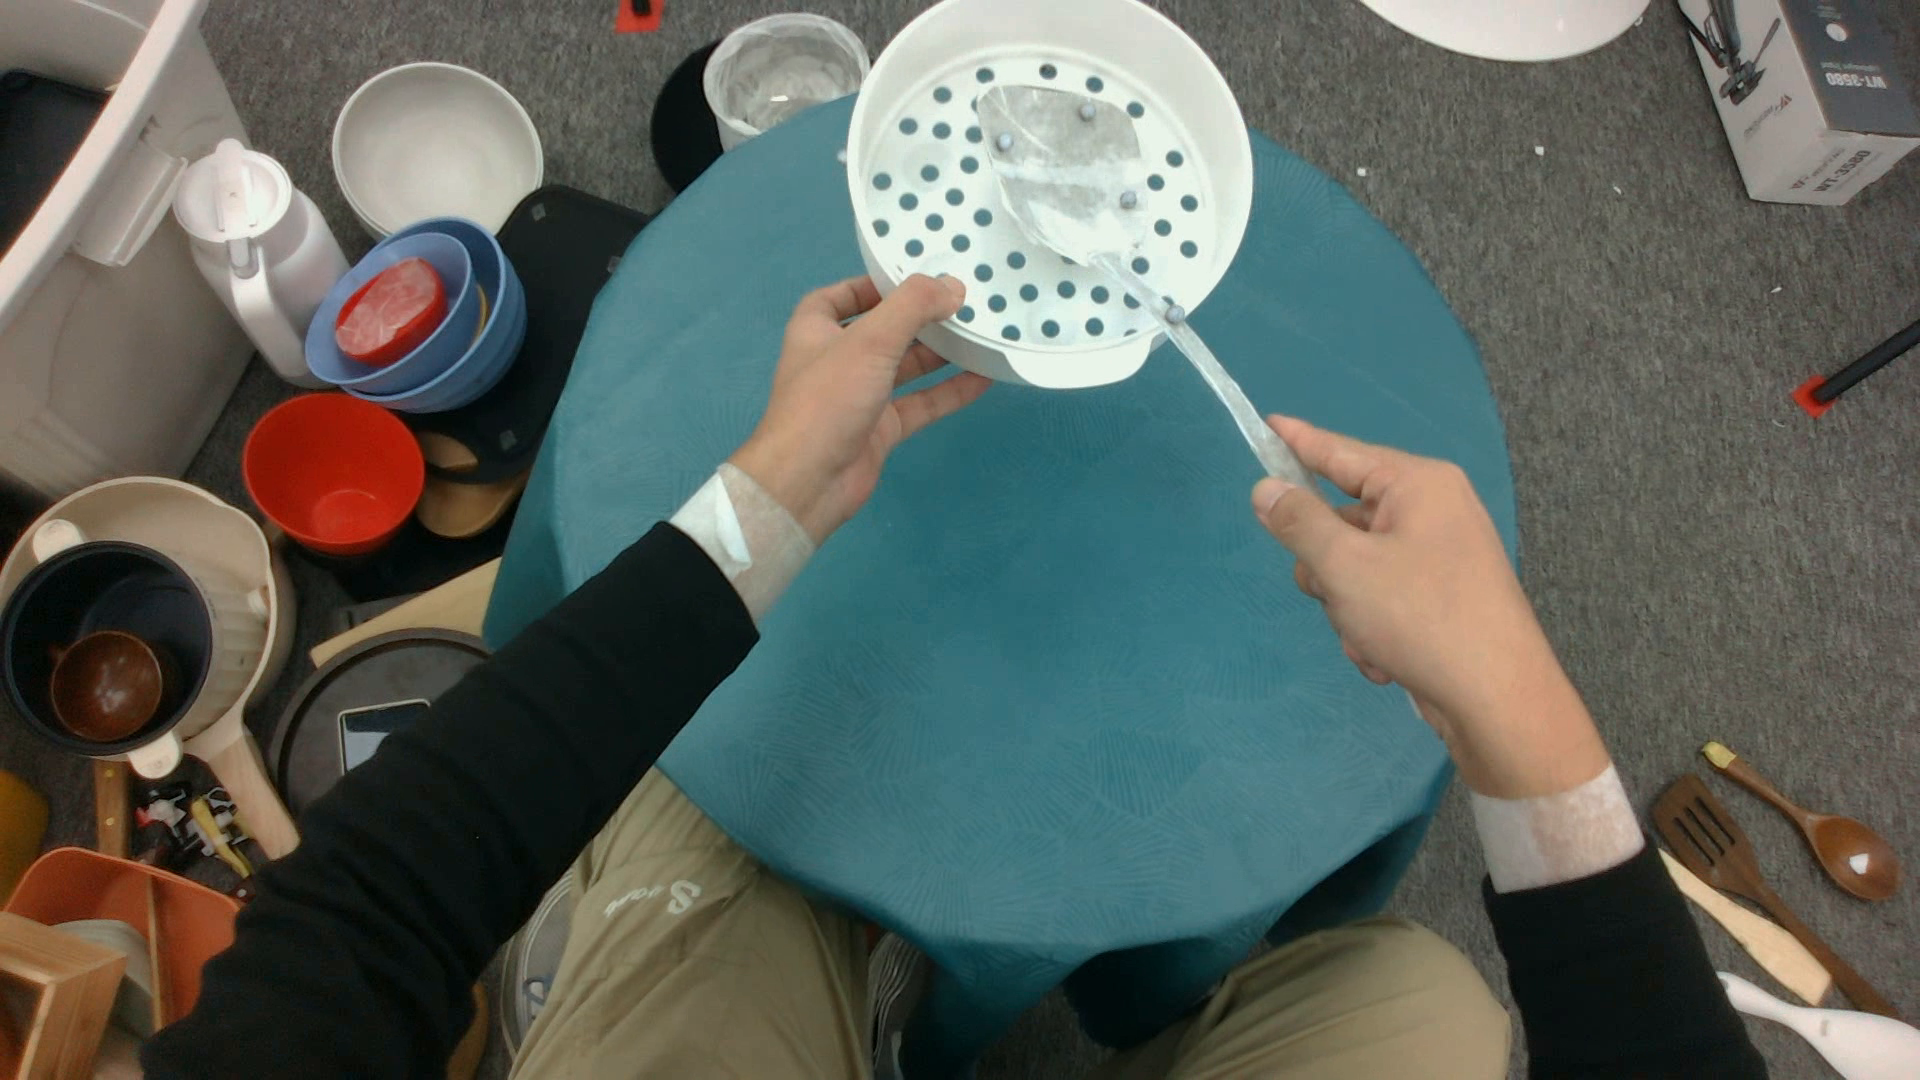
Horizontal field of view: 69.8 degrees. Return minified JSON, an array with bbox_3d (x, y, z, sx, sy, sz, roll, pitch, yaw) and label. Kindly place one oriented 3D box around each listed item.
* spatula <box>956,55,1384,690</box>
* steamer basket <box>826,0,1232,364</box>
[{"bbox_3d":[0.097,-0.093,0.608,0.099,0.044,0.366,-3,50,-34],"label":"spatula"},{"bbox_3d":[0.033,-0.190,0.705,0.202,0.069,0.231,-6,77,-7],"label":"steamer basket"}]
